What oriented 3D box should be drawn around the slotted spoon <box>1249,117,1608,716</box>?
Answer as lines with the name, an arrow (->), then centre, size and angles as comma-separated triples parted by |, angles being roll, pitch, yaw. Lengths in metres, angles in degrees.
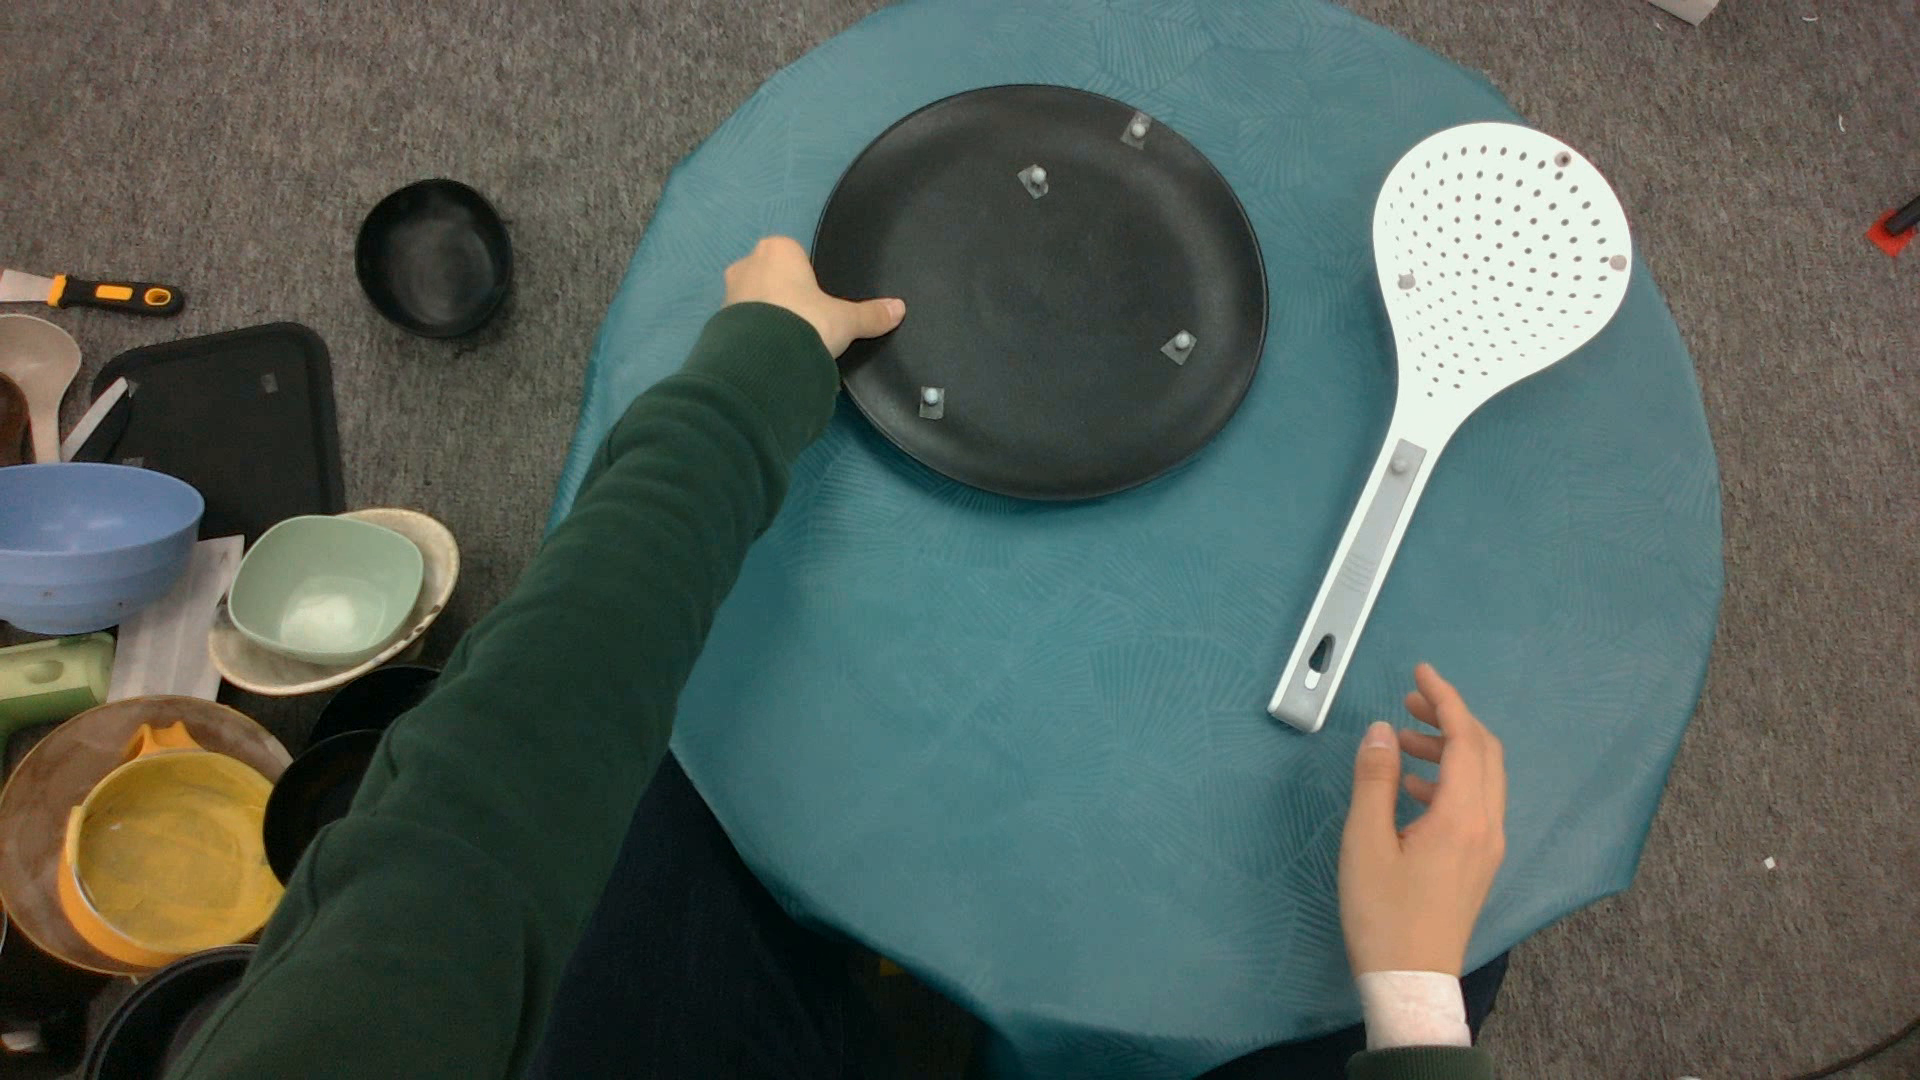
slotted spoon -> 0.230, -0.069, 0.715 | 0.136, 0.045, 0.351 | 25, 72, 5

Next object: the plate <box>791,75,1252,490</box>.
plate -> 0.034, -0.137, 0.729 | 0.244, 0.023, 0.245 | 2, 71, -6
